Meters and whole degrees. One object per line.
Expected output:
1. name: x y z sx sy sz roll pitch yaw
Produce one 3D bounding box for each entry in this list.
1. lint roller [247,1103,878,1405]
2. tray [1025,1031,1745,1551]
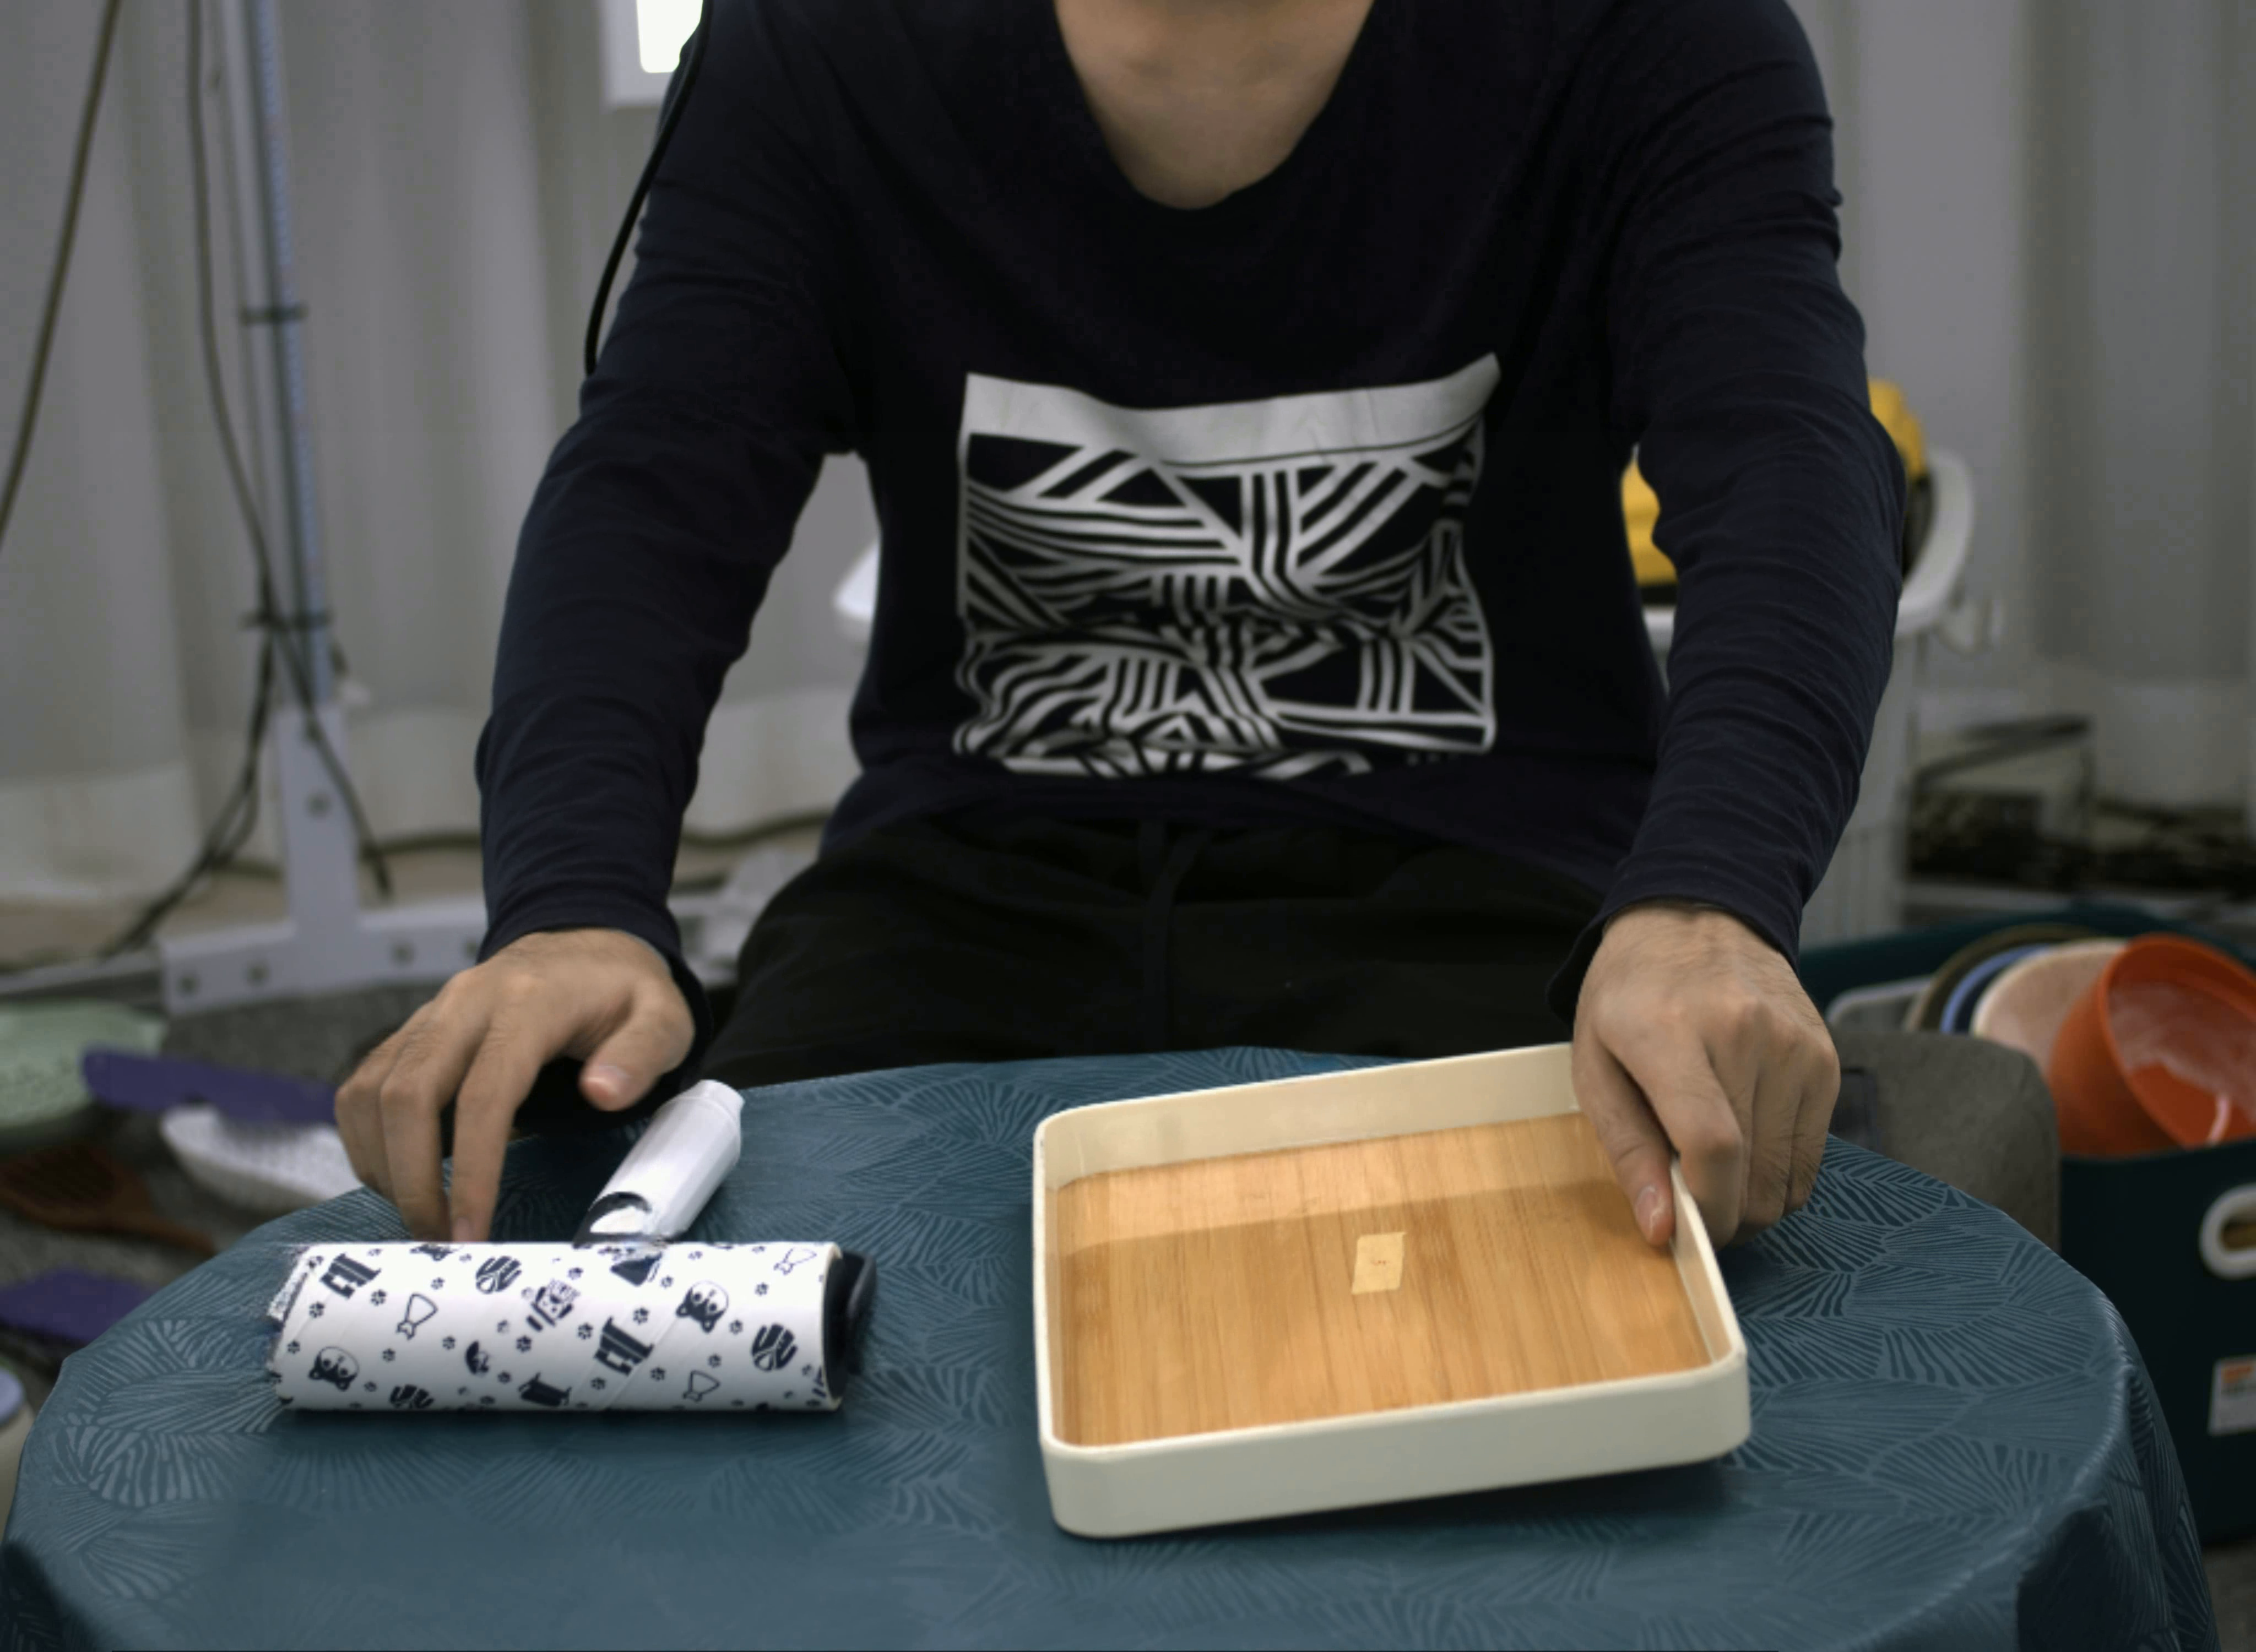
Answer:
1. lint roller: -0.151 0.118 1.650 0.176 0.050 0.248 -2 13 6
2. tray: 0.066 0.128 1.574 0.191 0.027 0.302 -9 15 1
